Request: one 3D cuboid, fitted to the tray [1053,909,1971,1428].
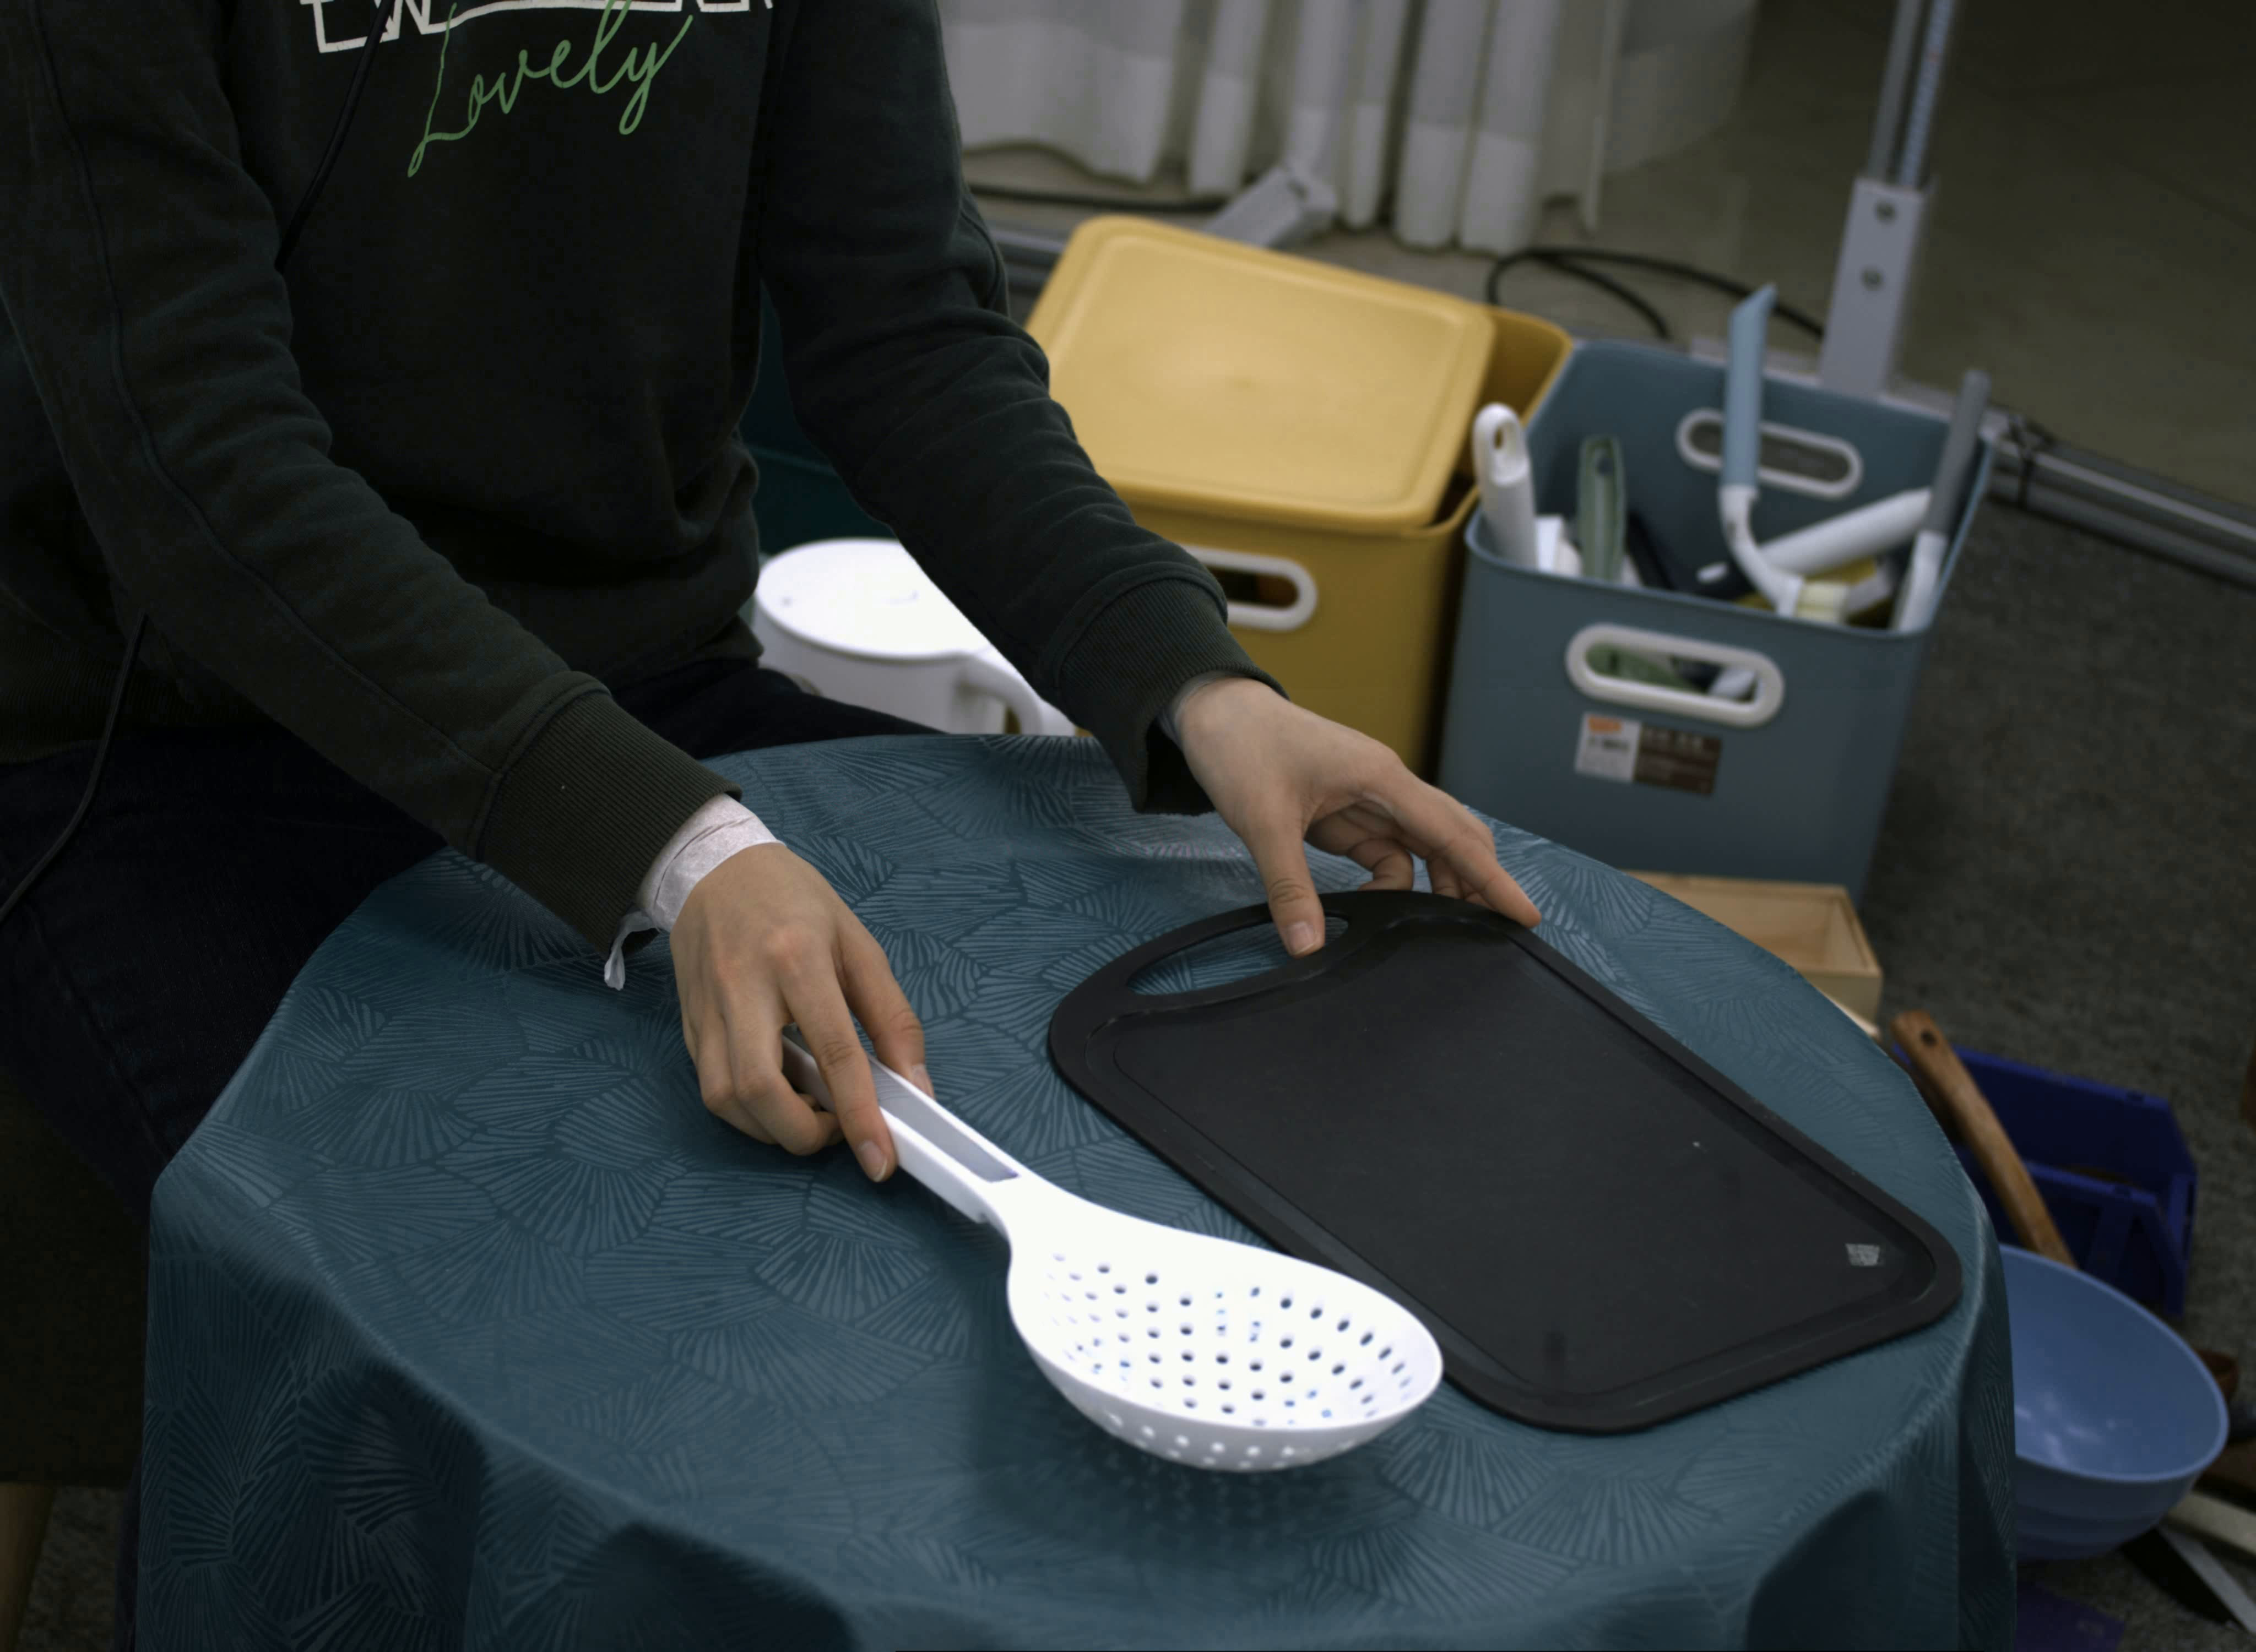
[{"bbox_3d":[0.123,0.108,1.845,0.210,0.010,0.328,-15,34,-34],"label":"tray"}]

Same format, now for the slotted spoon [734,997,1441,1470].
[{"bbox_3d":[-0.032,0.127,1.736,0.135,0.045,0.353,-4,27,-35],"label":"slotted spoon"}]
